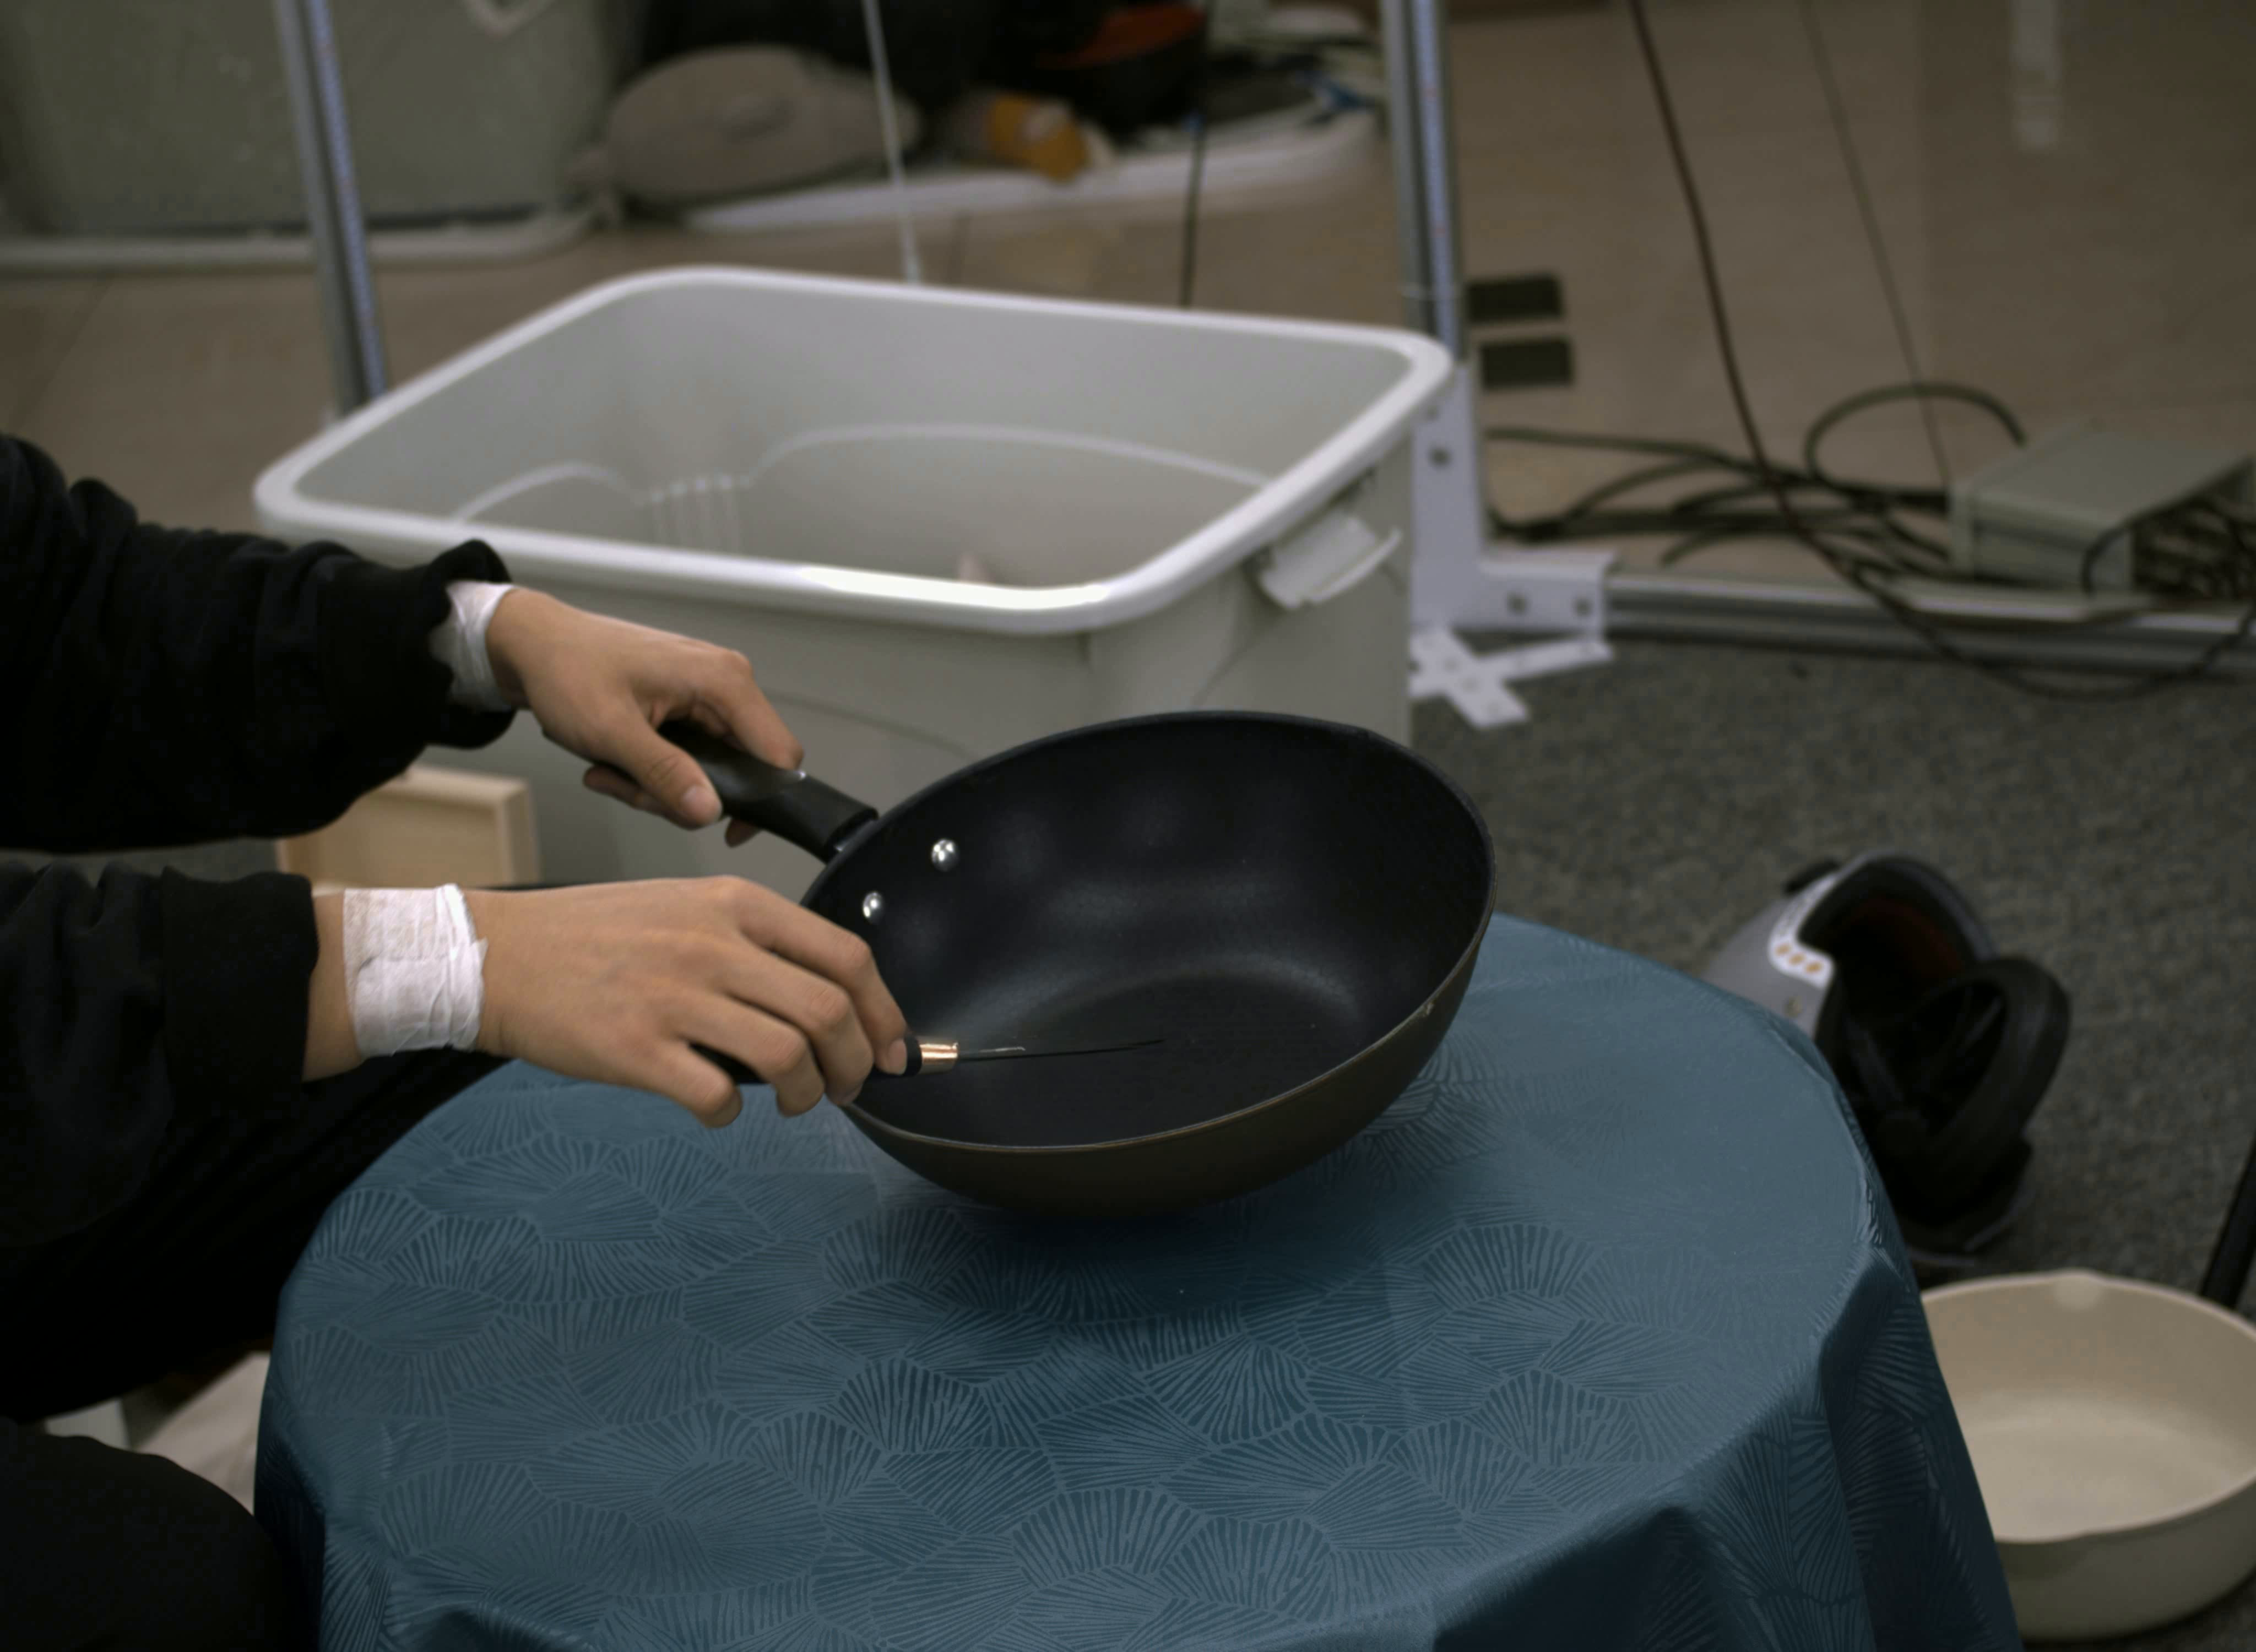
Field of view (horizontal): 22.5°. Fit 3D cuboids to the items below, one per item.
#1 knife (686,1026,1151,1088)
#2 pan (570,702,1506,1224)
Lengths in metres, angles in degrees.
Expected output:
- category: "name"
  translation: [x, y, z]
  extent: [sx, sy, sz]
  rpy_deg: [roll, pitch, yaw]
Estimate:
- category: "knife"
  translation: [-0.068, 0.079, 2.001]
  extent: [0.225, 0.017, 0.026]
  rpy_deg: [-2, 10, -44]
- category: "pan"
  translation: [-0.056, 0.045, 2.231]
  extent: [0.460, 0.088, 0.285]
  rpy_deg: [19, 45, 39]
